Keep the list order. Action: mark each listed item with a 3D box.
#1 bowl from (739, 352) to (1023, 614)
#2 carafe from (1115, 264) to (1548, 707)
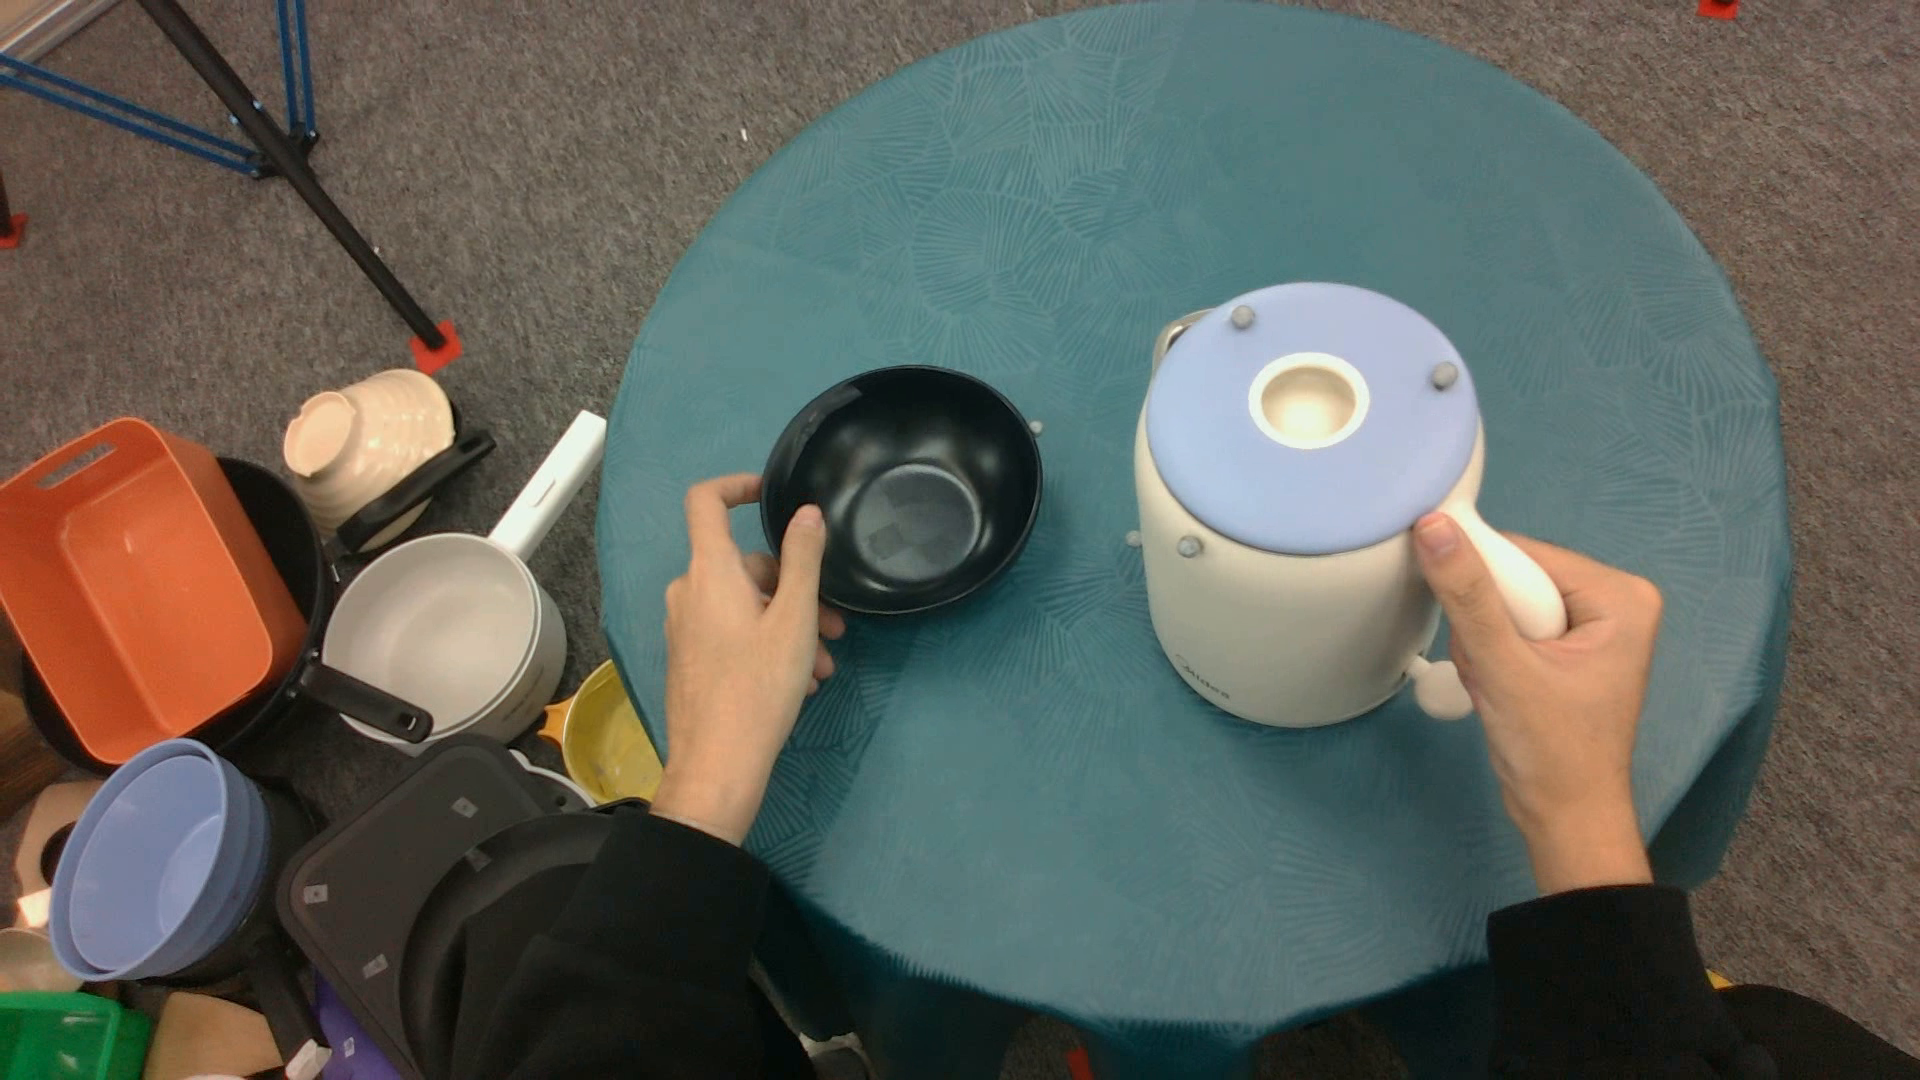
[{"bbox_3d":[-0.036,-0.022,0.682,0.140,0.049,0.140,-3,65,6],"label":"bowl"},{"bbox_3d":[0.152,-0.004,0.573,0.191,0.182,0.132,37,75,23],"label":"carafe"}]
